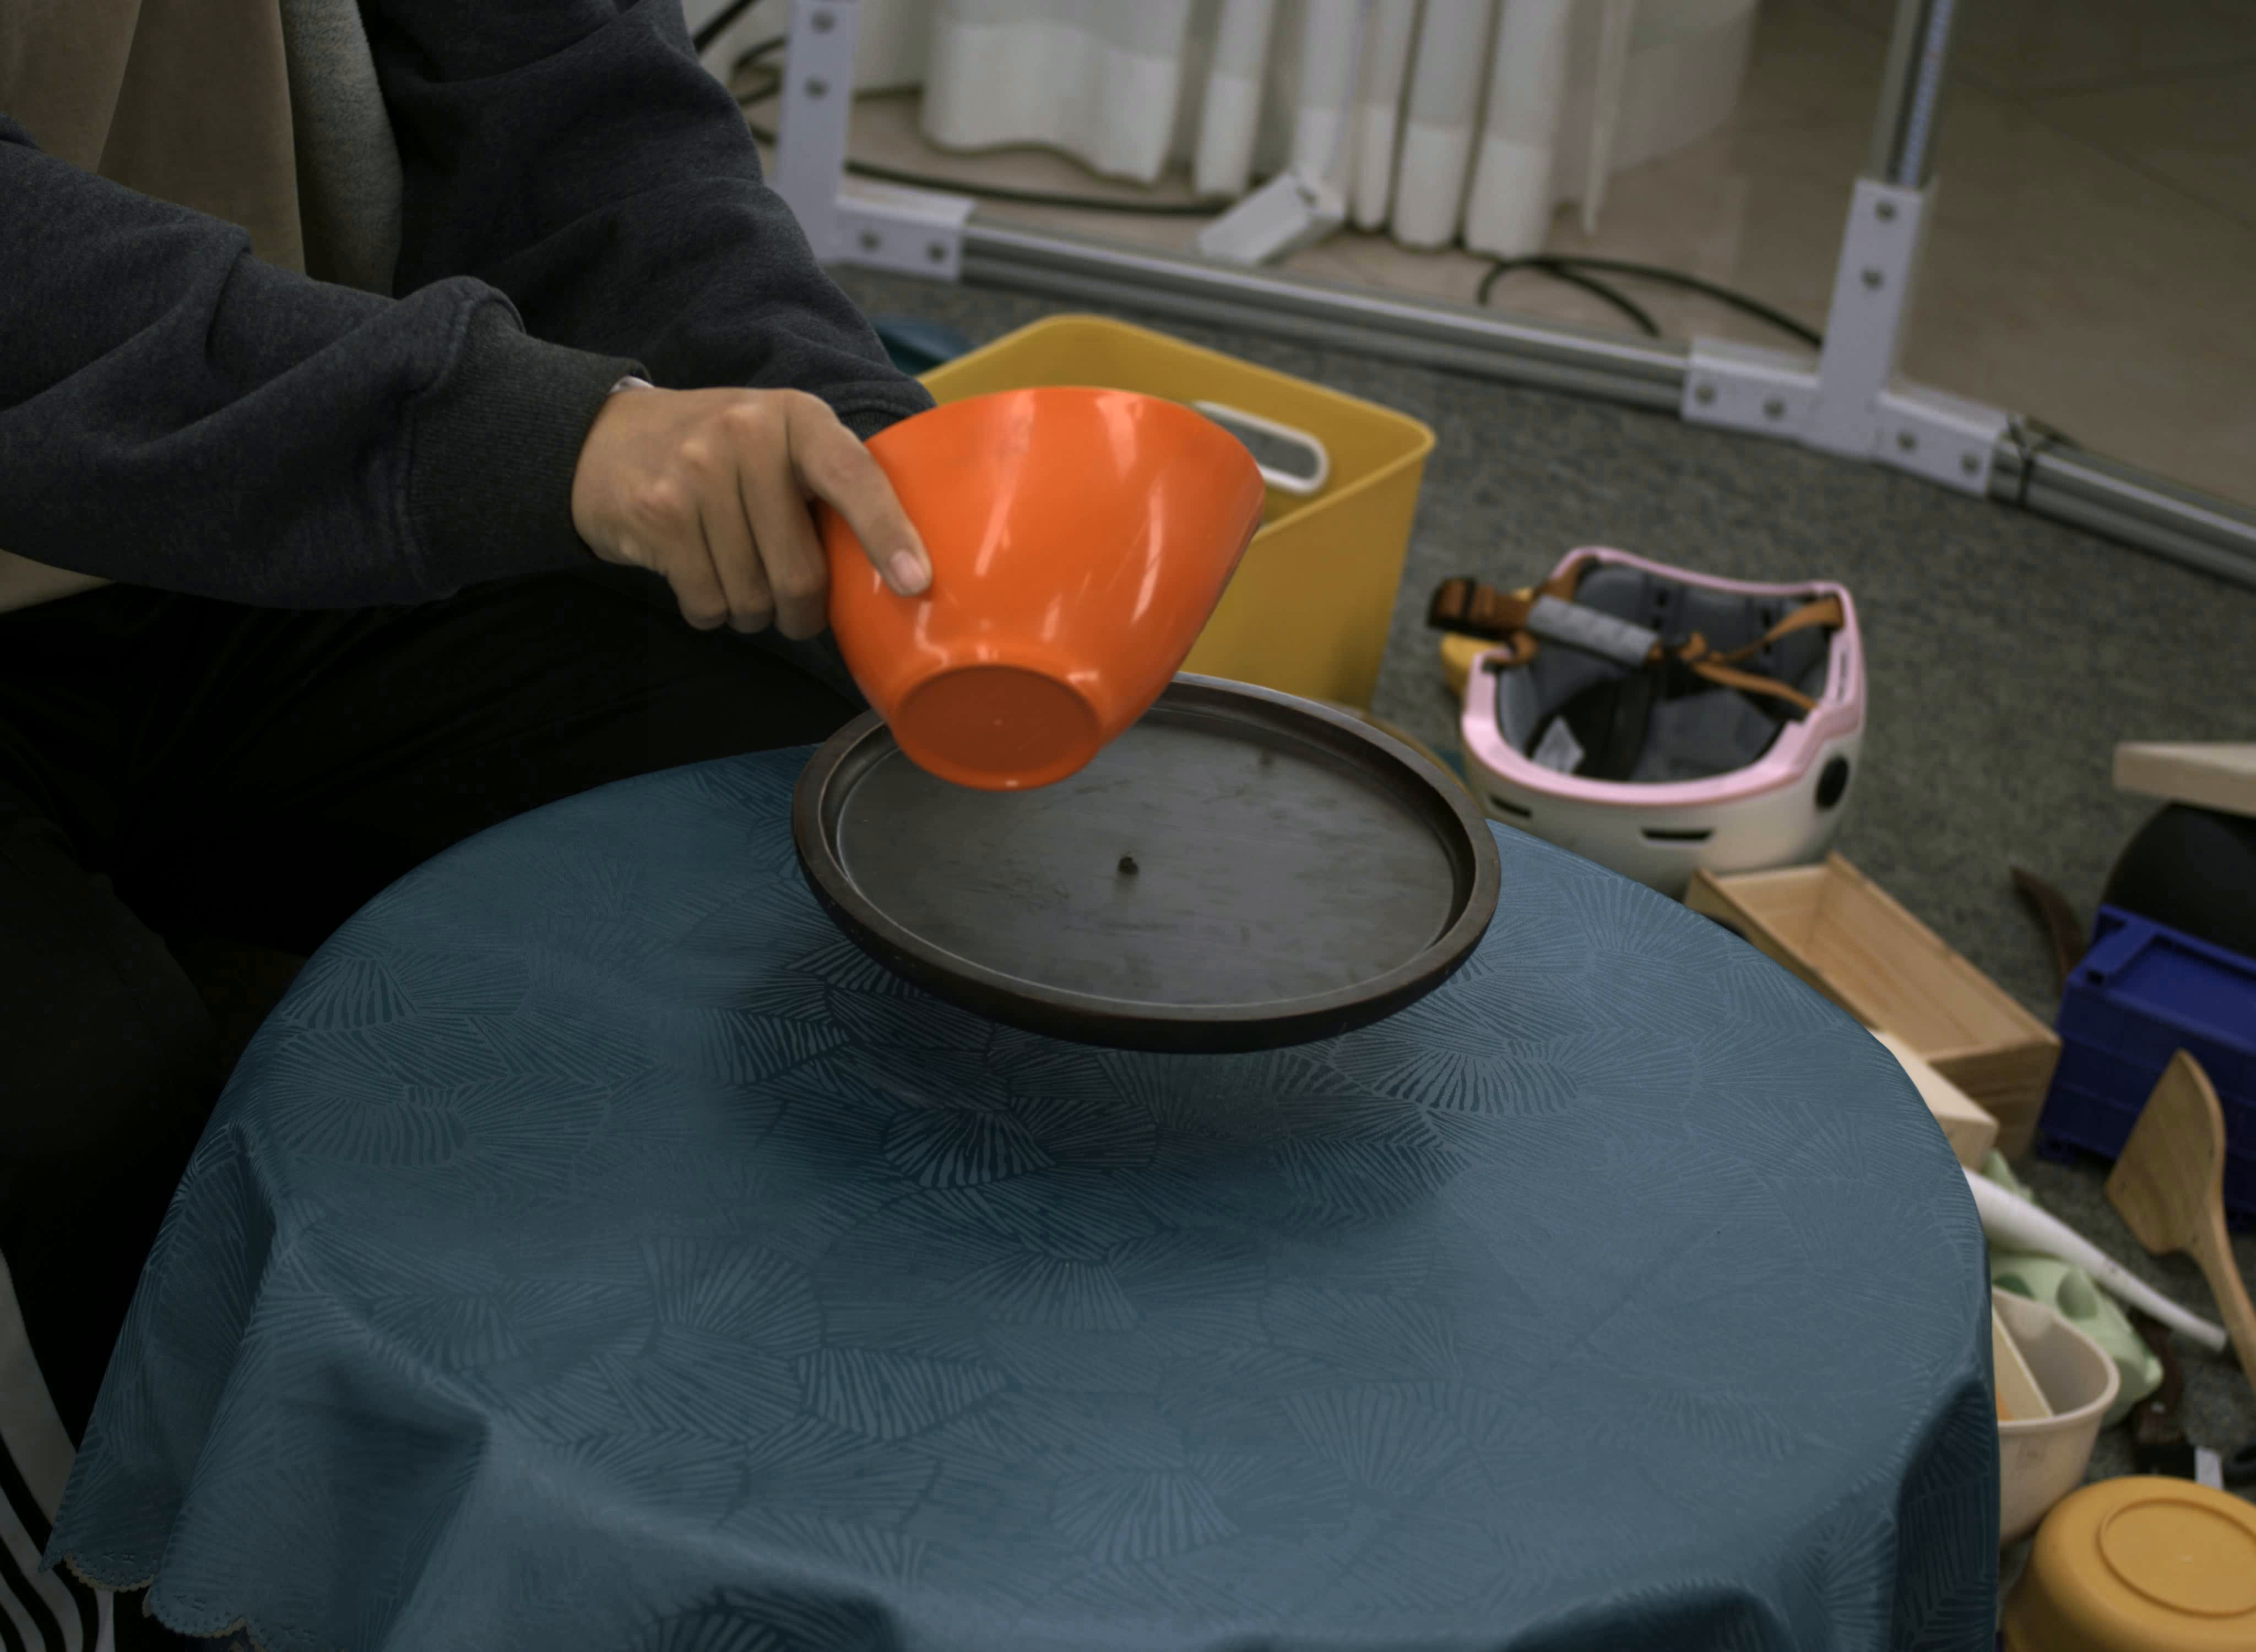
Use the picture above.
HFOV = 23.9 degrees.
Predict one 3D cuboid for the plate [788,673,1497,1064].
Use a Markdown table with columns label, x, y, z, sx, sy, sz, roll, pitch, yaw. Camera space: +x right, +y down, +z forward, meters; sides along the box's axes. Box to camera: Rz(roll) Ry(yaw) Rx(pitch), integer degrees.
| label | x | y | z | sx | sy | sz | roll | pitch | yaw |
| --- | --- | --- | --- | --- | --- | --- | --- | --- | --- |
| plate | 0.005 | 0.011 | 1.883 | 0.254 | 0.029 | 0.256 | 4 | 30 | -2 |

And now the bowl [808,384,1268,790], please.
| label | x | y | z | sx | sy | sz | roll | pitch | yaw |
| --- | --- | --- | --- | --- | --- | --- | --- | --- | --- |
| bowl | -0.031 | -0.067 | 1.691 | 0.147 | 0.147 | 0.105 | 6 | 54 | -2 |
